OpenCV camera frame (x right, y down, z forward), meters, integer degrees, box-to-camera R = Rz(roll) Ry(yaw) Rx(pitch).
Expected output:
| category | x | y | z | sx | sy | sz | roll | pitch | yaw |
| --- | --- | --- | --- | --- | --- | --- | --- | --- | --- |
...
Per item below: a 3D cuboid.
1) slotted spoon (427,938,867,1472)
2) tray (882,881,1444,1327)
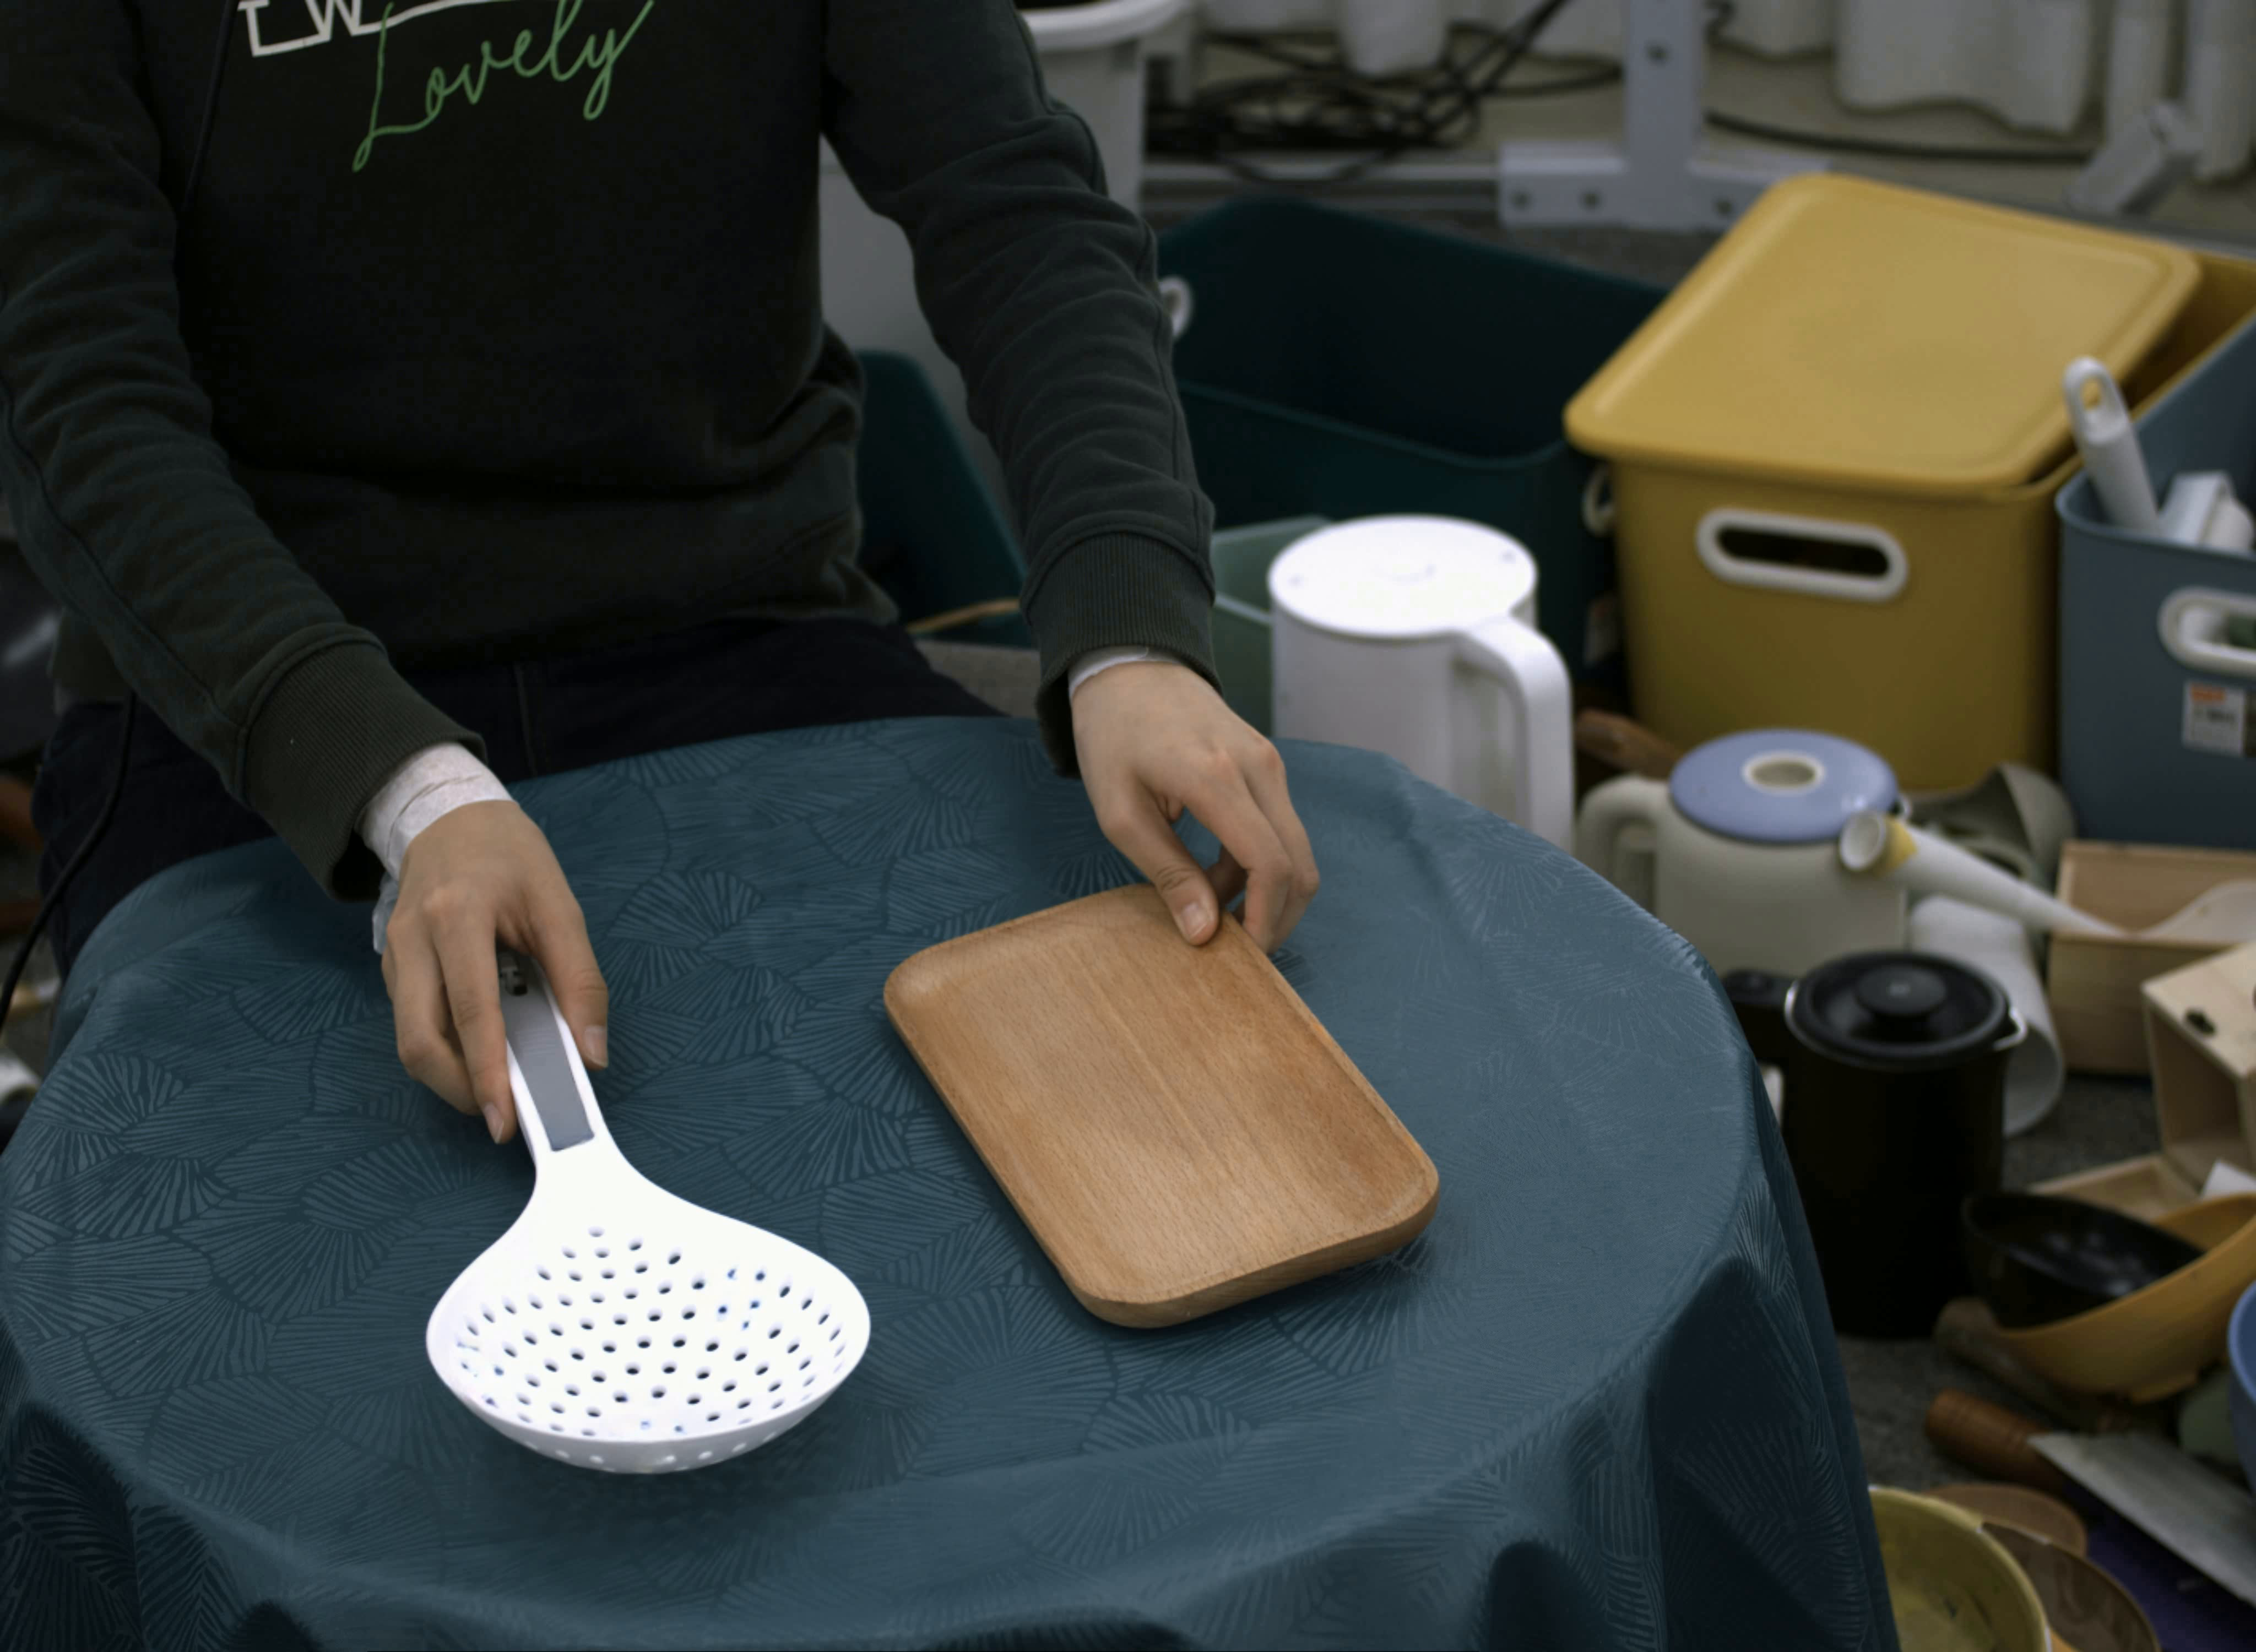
| category | x | y | z | sx | sy | sz | roll | pitch | yaw |
| --- | --- | --- | --- | --- | --- | --- | --- | --- | --- |
| slotted spoon | -0.176 | 0.117 | 1.825 | 0.136 | 0.045 | 0.354 | -5 | 29 | -14 |
| tray | 0.008 | 0.091 | 1.891 | 0.131 | 0.022 | 0.253 | -15 | 28 | -15 |
